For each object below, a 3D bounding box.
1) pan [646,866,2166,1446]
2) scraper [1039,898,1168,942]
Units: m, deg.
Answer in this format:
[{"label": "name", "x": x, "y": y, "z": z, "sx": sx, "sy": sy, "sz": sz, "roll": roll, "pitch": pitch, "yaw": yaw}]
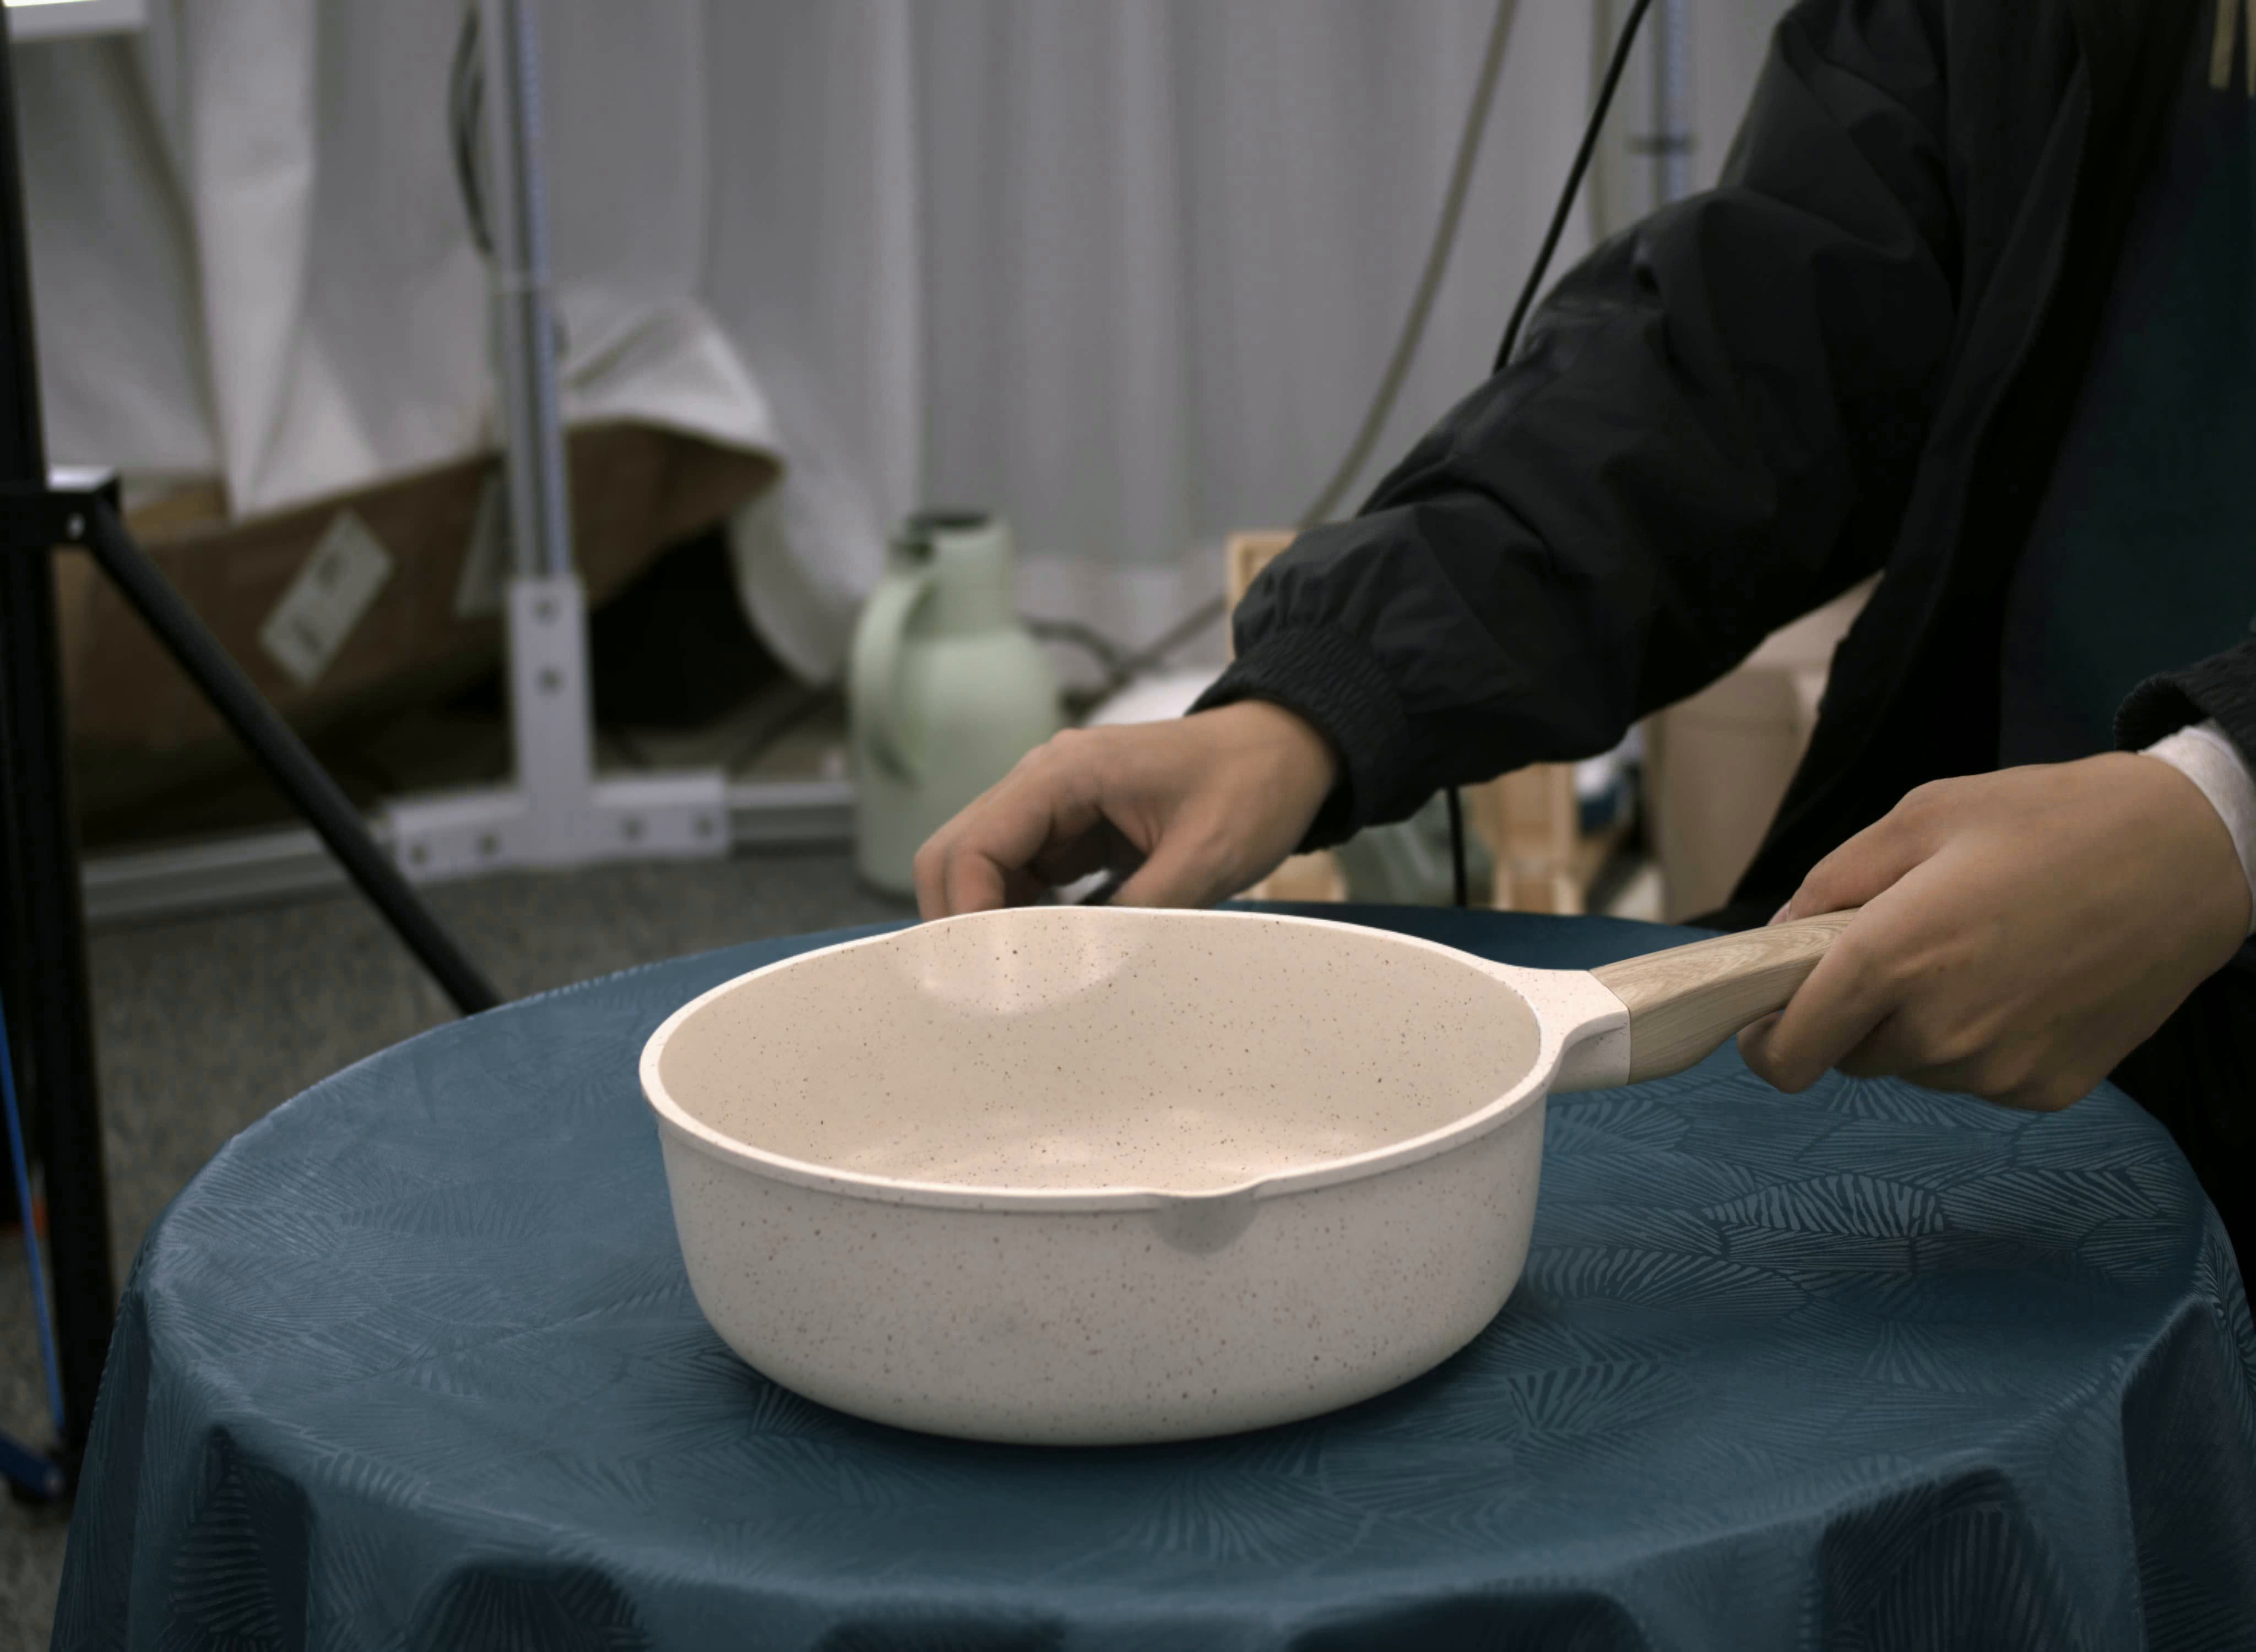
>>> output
[{"label": "pan", "x": 0.085, "y": 0.082, "z": 1.459, "sx": 0.429, "sy": 0.102, "sz": 0.267, "roll": -5, "pitch": 14, "yaw": -11}, {"label": "scraper", "x": -0.046, "y": 0.061, "z": 1.686, "sx": 0.077, "sy": 0.011, "sz": 0.208, "roll": 14, "pitch": 26, "yaw": 27}]
